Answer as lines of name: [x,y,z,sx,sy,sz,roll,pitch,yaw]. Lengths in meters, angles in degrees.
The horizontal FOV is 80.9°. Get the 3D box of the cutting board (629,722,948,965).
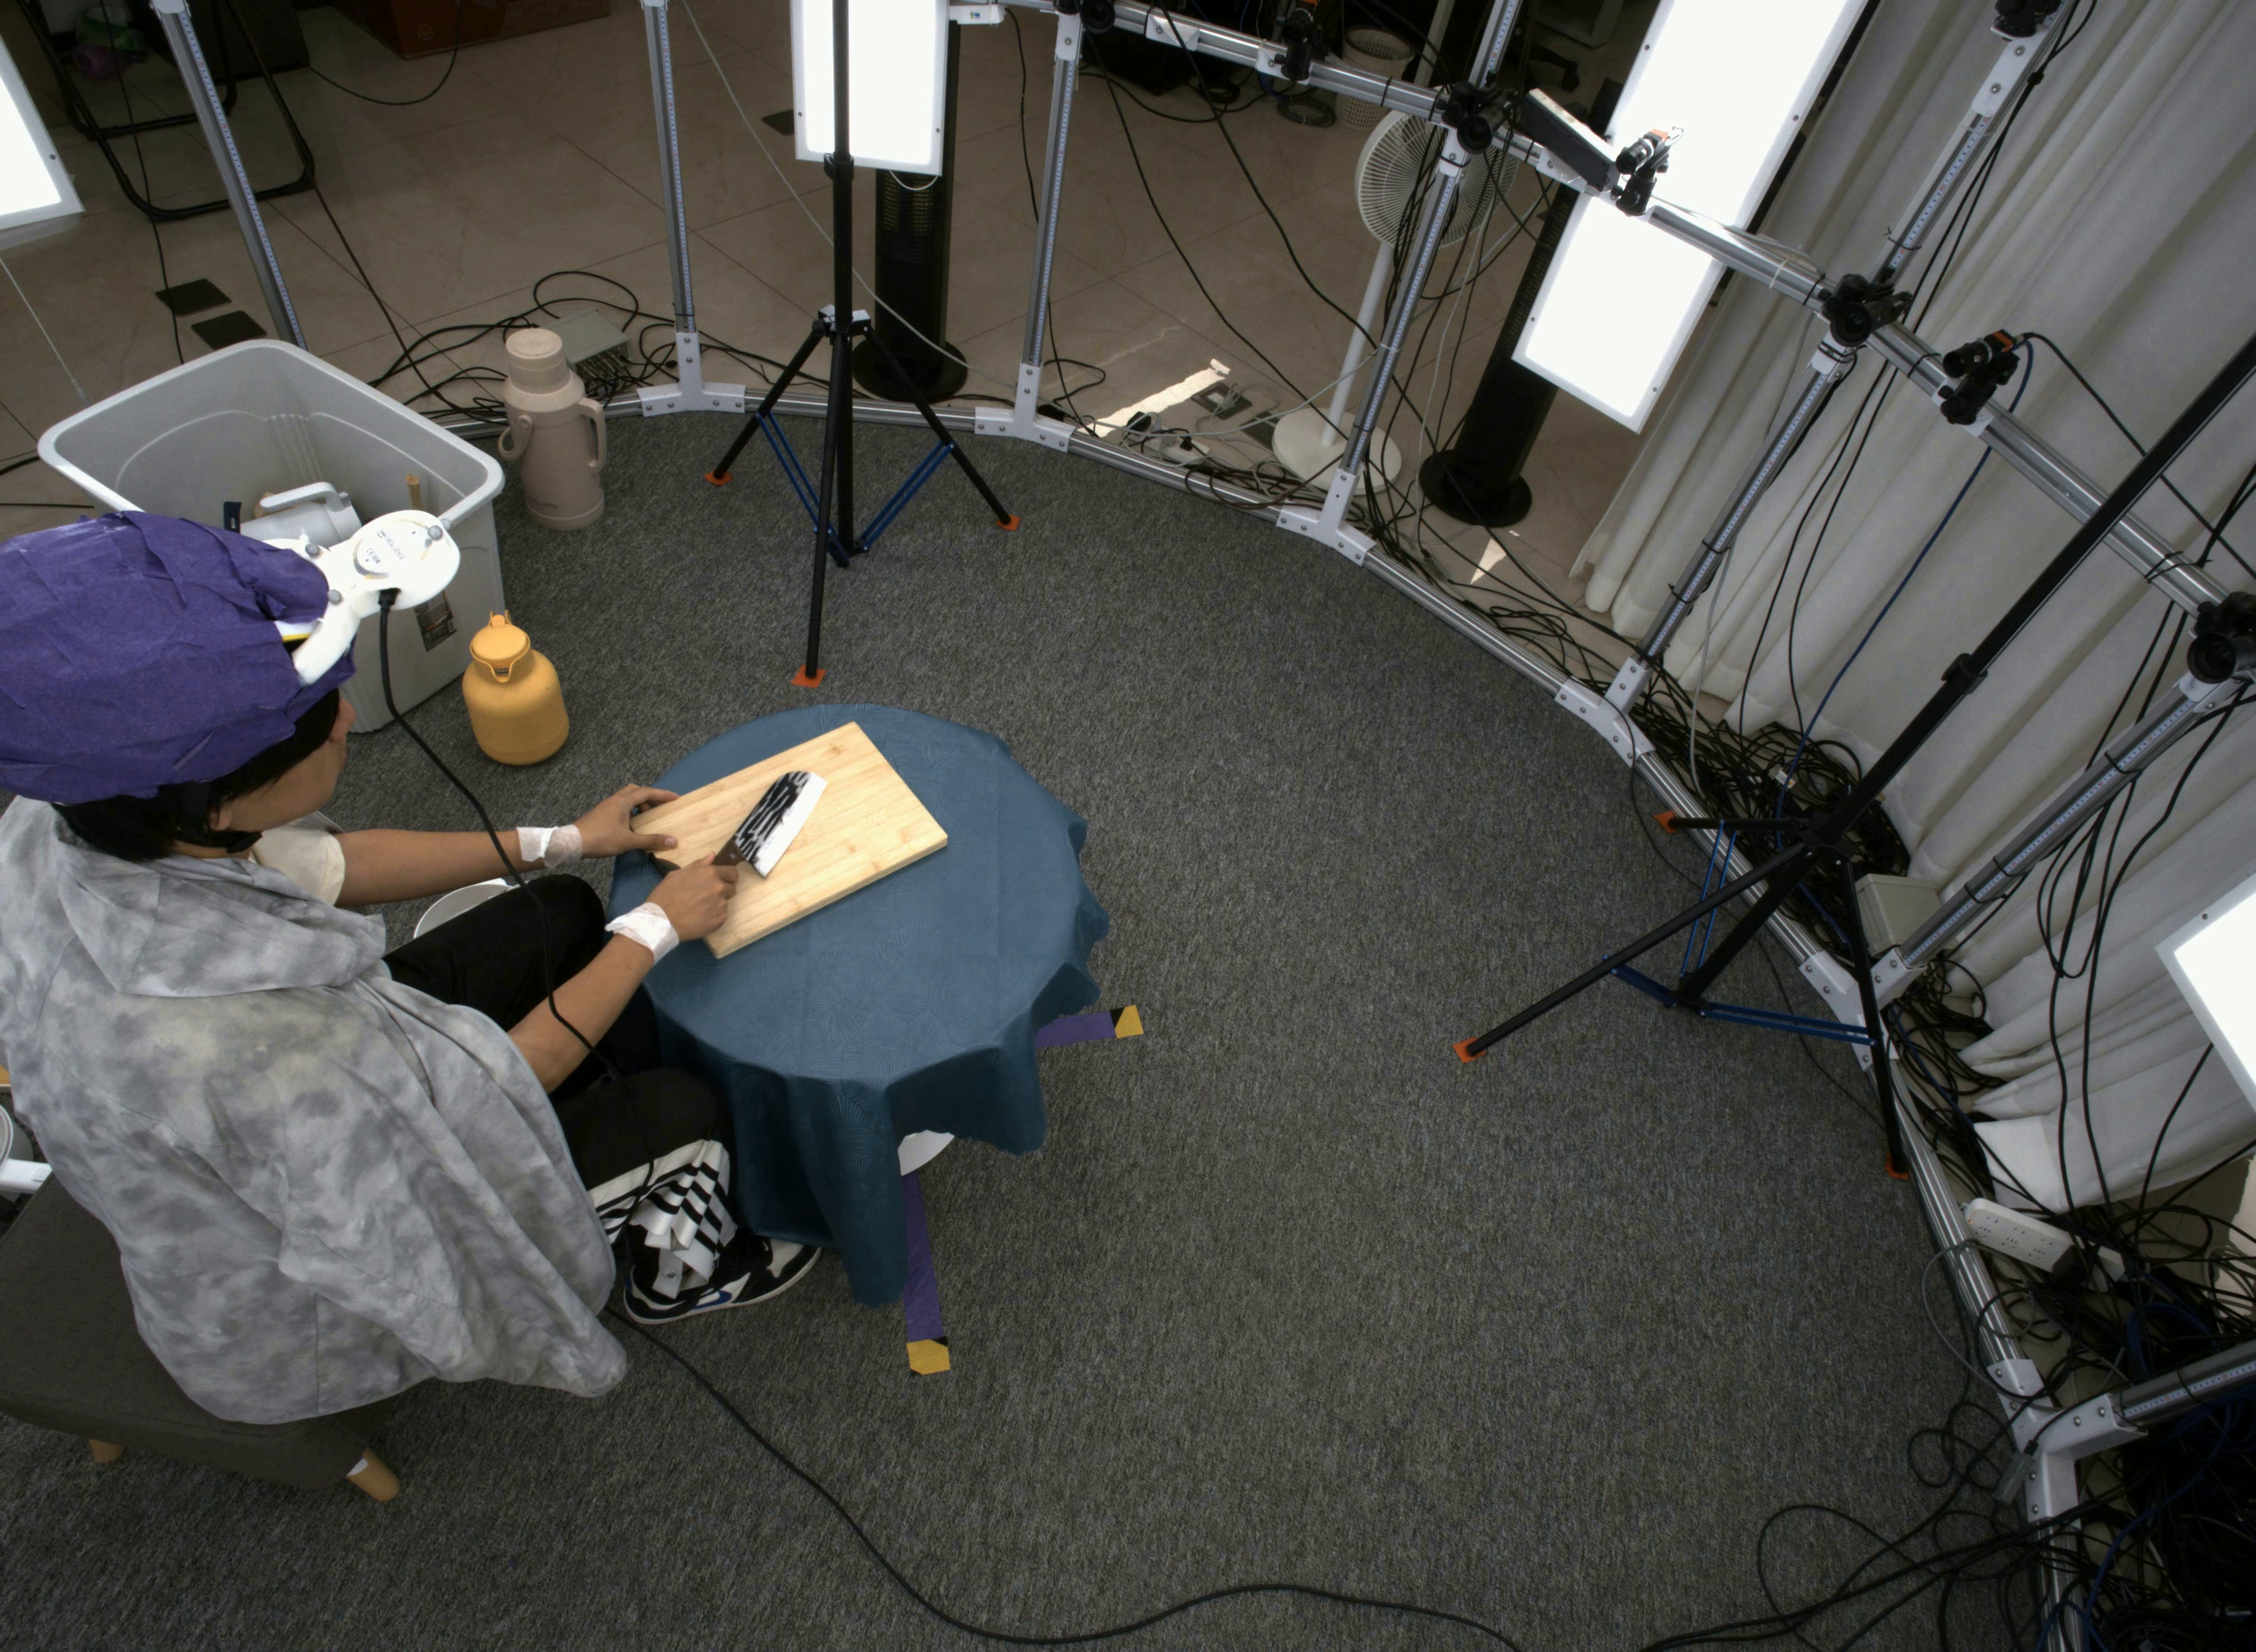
cutting board: [-0.442,0.011,1.703,0.350,0.024,0.244,-29,65,-30]

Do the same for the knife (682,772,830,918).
knife: [-0.464,0.022,1.640,0.070,0.023,0.297,53,42,-26]
